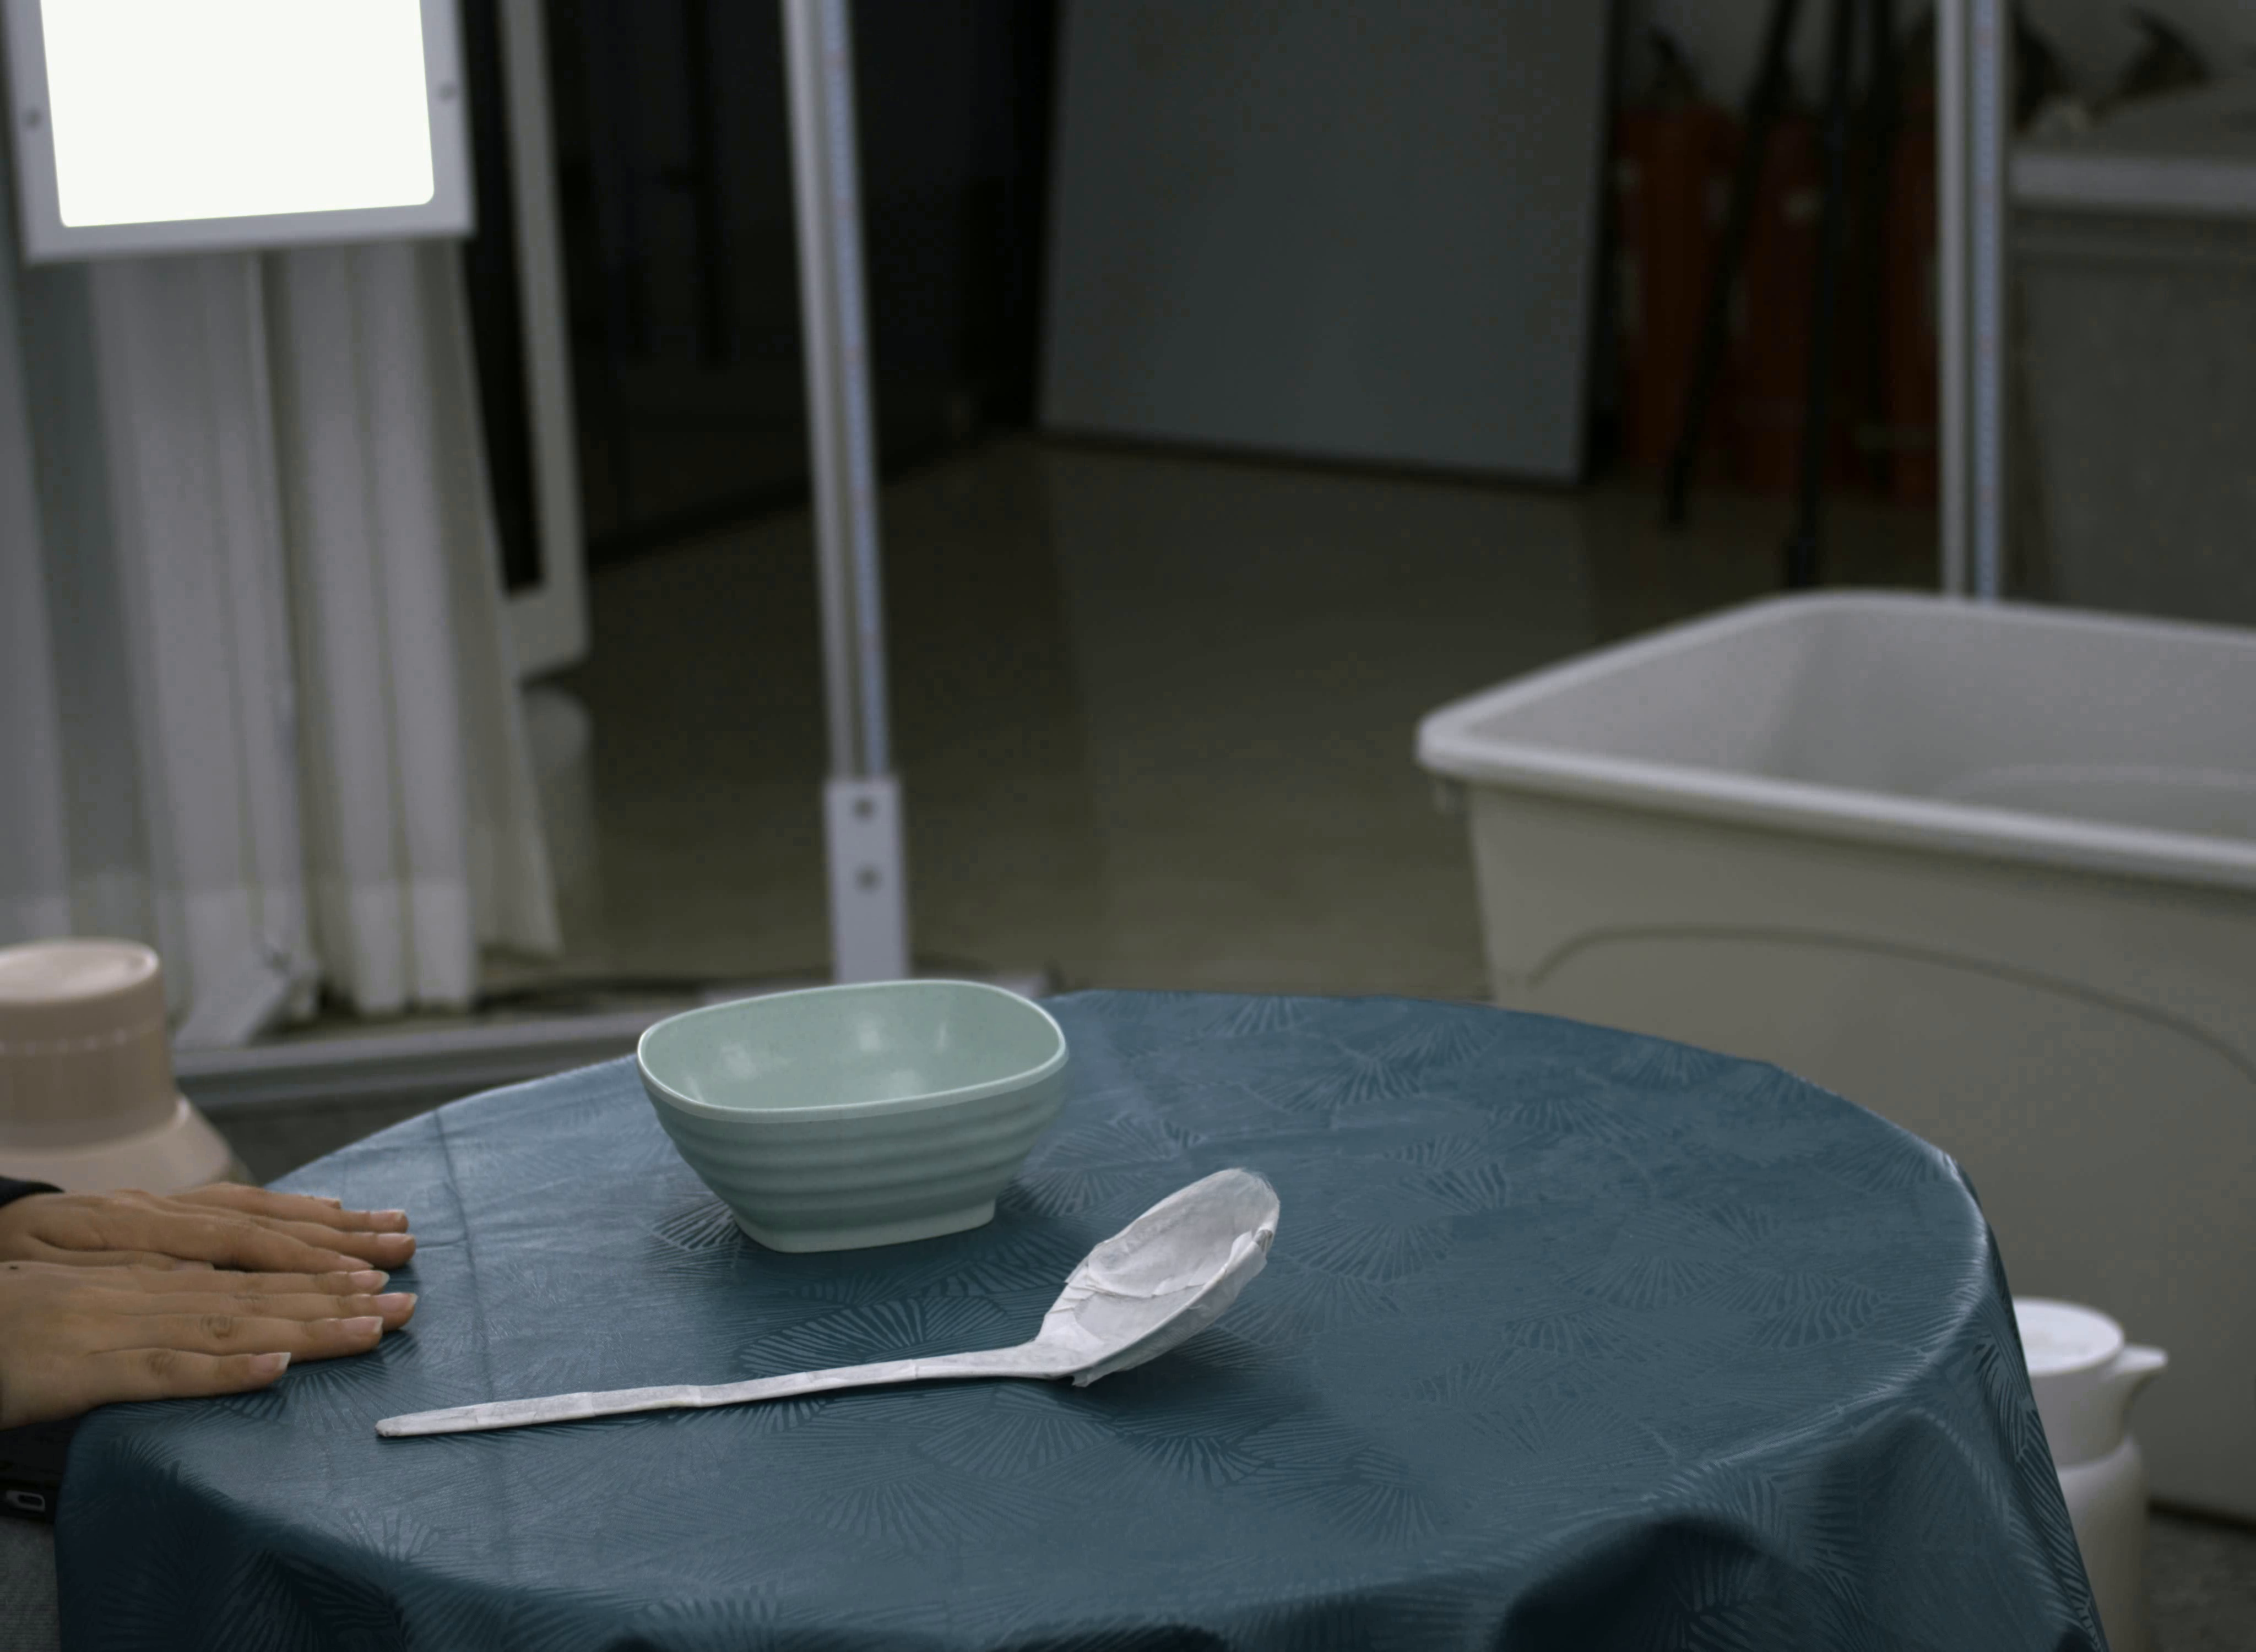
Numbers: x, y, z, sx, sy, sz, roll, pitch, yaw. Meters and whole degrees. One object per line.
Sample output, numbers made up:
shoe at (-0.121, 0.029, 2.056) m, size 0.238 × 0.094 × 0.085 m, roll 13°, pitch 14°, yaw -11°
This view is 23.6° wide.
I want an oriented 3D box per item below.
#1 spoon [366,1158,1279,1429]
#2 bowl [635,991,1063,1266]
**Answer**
spoon at (-0.090, 0.138, 1.605) m, size 0.273 × 0.060 × 0.101 m, roll -4°, pitch 9°, yaw -1°
bowl at (-0.089, 0.102, 1.766) m, size 0.149 × 0.059 × 0.152 m, roll -4°, pitch 14°, yaw 0°
